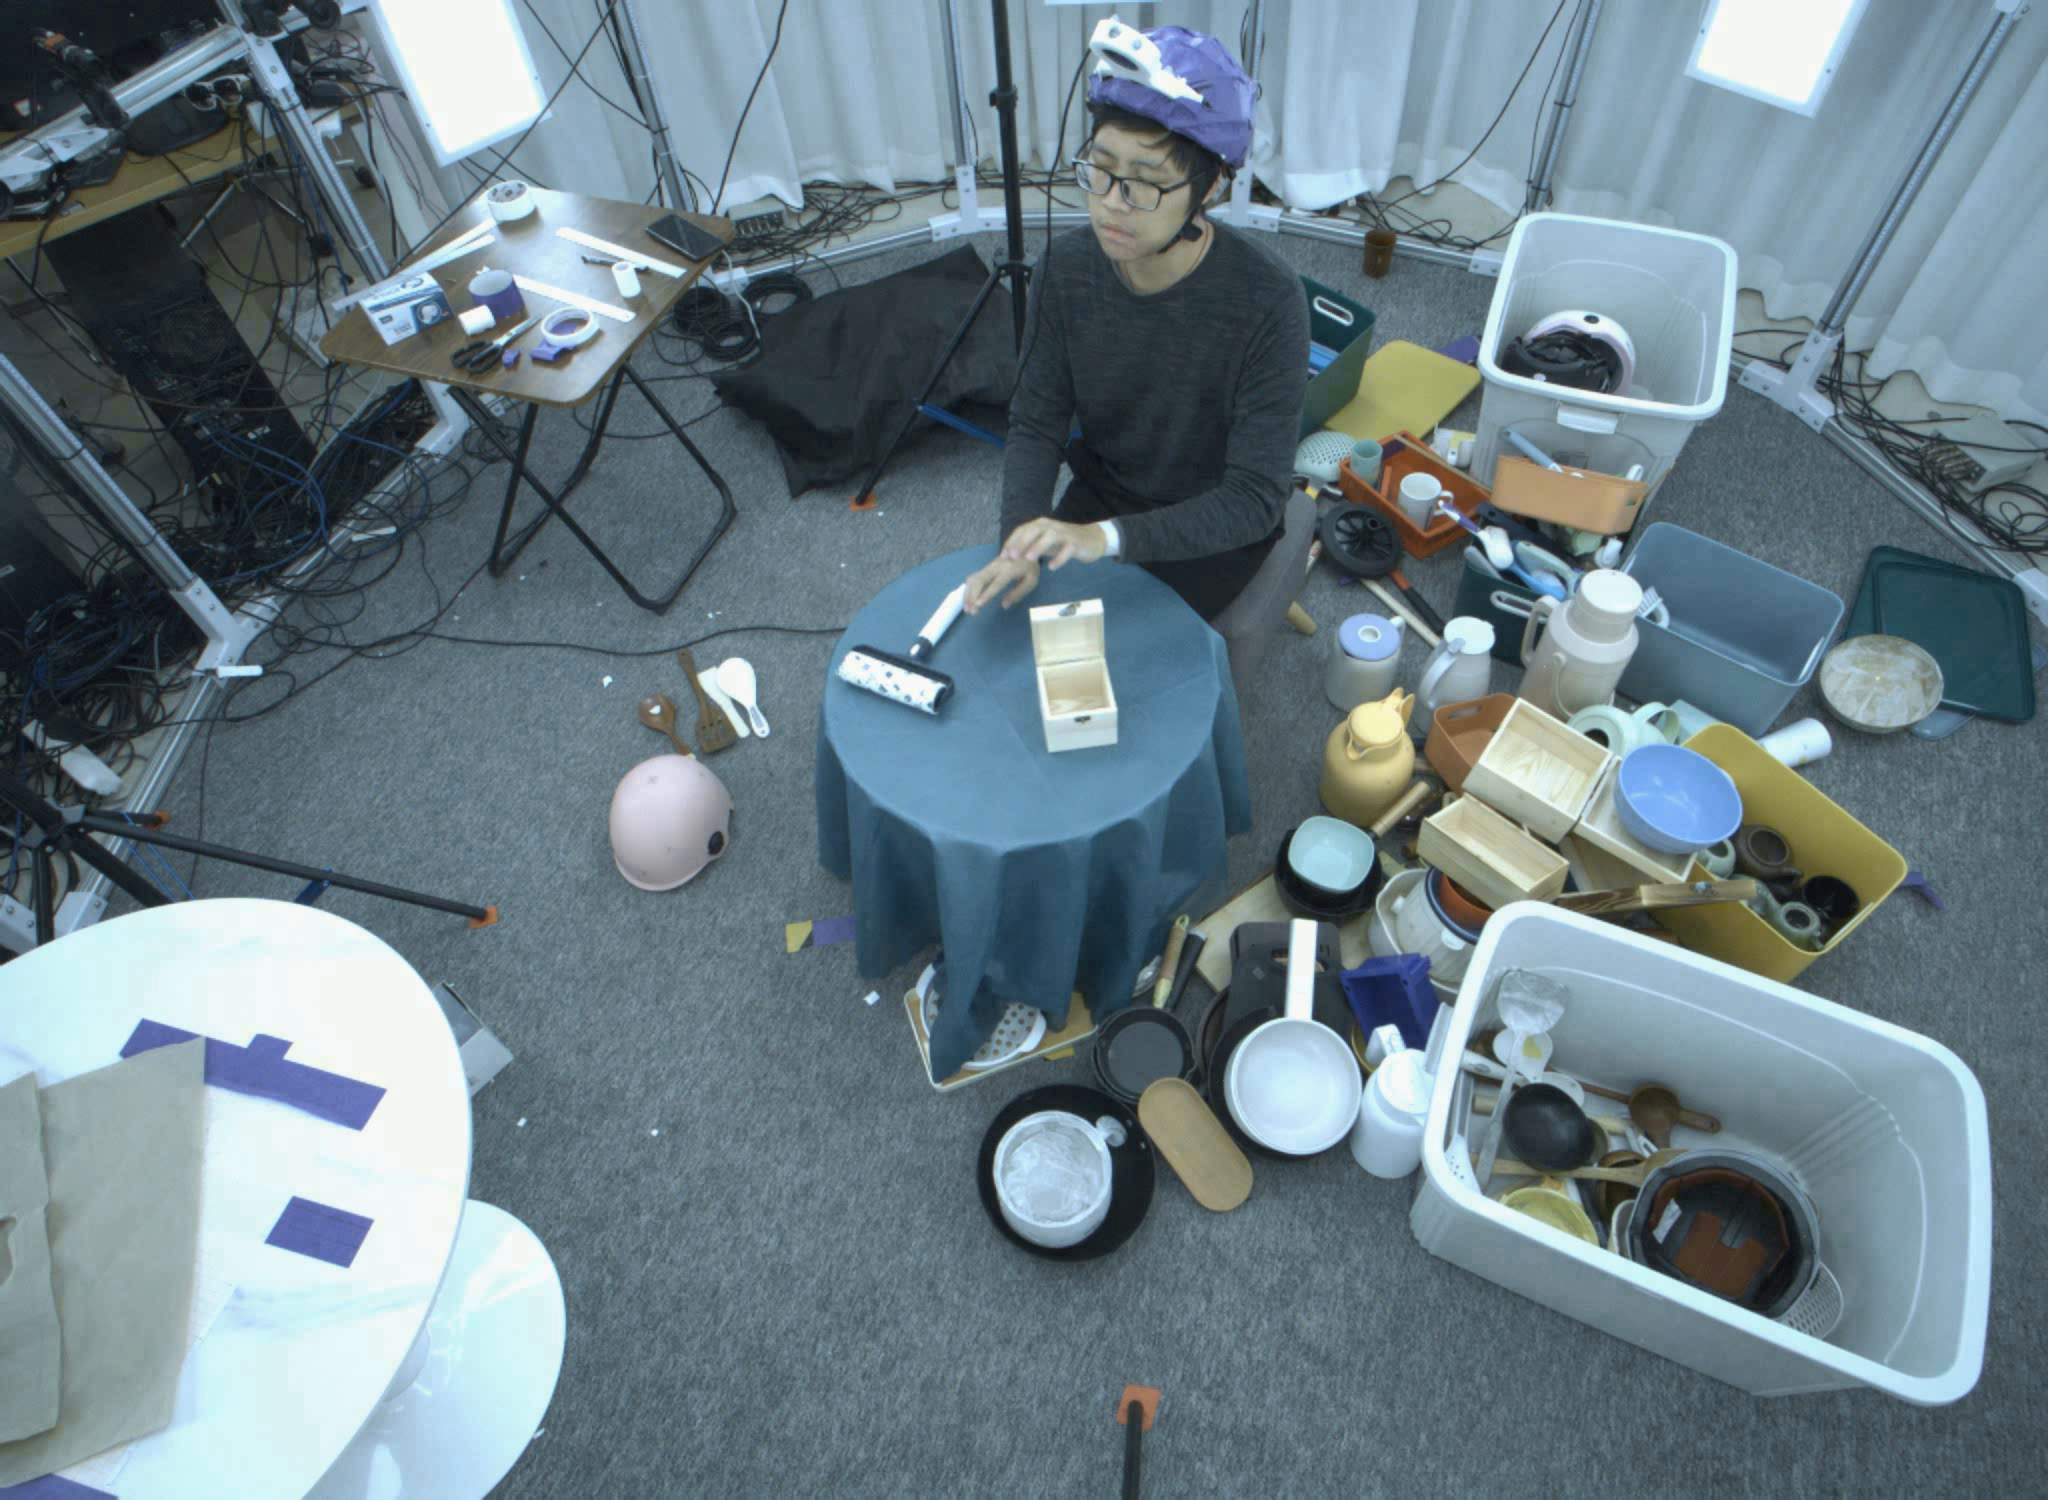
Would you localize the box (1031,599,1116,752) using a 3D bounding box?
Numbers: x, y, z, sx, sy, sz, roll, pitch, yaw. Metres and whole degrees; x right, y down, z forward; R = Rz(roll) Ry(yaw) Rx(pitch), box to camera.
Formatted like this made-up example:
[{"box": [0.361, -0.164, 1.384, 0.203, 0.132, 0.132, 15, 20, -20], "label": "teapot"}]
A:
[{"box": [0.071, -0.104, 1.746, 0.103, 0.186, 0.132, -8, 54, -3], "label": "box"}]

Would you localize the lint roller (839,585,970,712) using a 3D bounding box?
[{"box": [-0.152, -0.176, 1.891, 0.174, 0.051, 0.247, 20, 57, 17], "label": "lint roller"}]
